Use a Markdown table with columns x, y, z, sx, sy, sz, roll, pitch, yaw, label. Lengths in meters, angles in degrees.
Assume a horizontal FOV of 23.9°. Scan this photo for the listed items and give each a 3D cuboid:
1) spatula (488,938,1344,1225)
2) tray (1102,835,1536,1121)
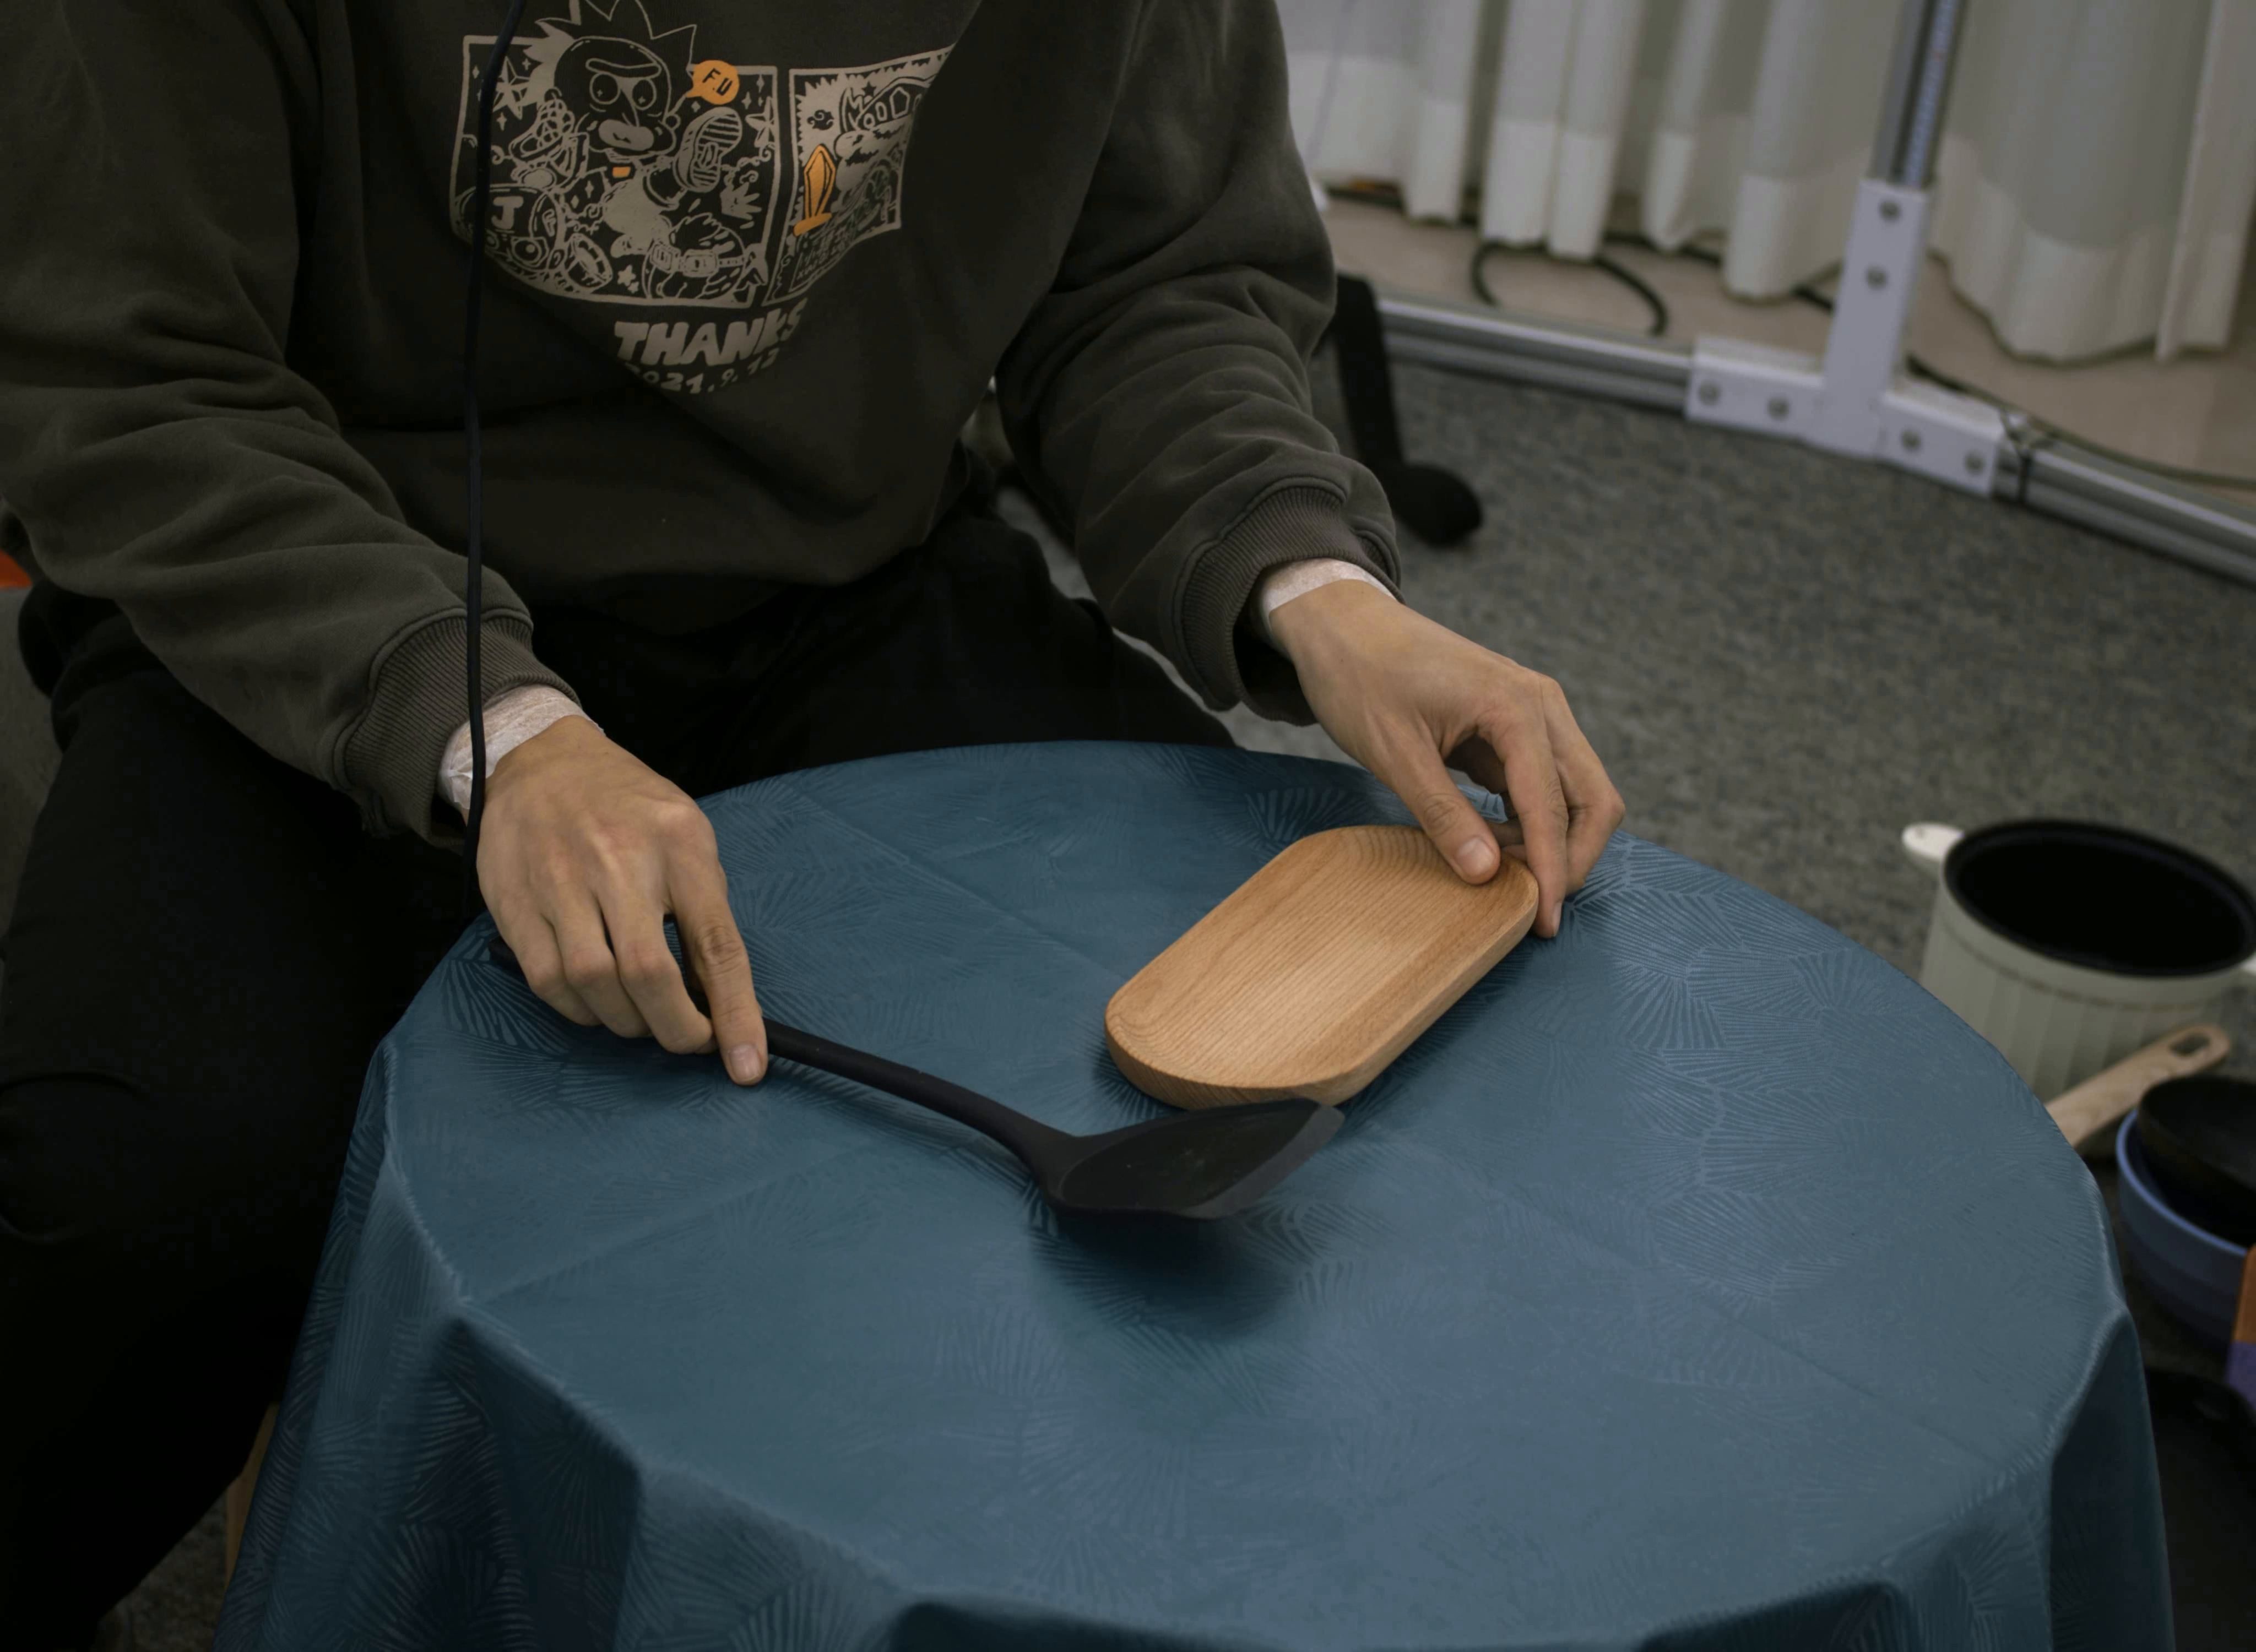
| x | y | z | sx | sy | sz | roll | pitch | yaw | label |
| --- | --- | --- | --- | --- | --- | --- | --- | --- | --- |
| -0.086 | 0.080 | 1.831 | 0.327 | 0.040 | 0.099 | 20 | 27 | 24 | spatula |
| 0.071 | 0.054 | 1.936 | 0.102 | 0.020 | 0.231 | 13 | 28 | 25 | tray |
